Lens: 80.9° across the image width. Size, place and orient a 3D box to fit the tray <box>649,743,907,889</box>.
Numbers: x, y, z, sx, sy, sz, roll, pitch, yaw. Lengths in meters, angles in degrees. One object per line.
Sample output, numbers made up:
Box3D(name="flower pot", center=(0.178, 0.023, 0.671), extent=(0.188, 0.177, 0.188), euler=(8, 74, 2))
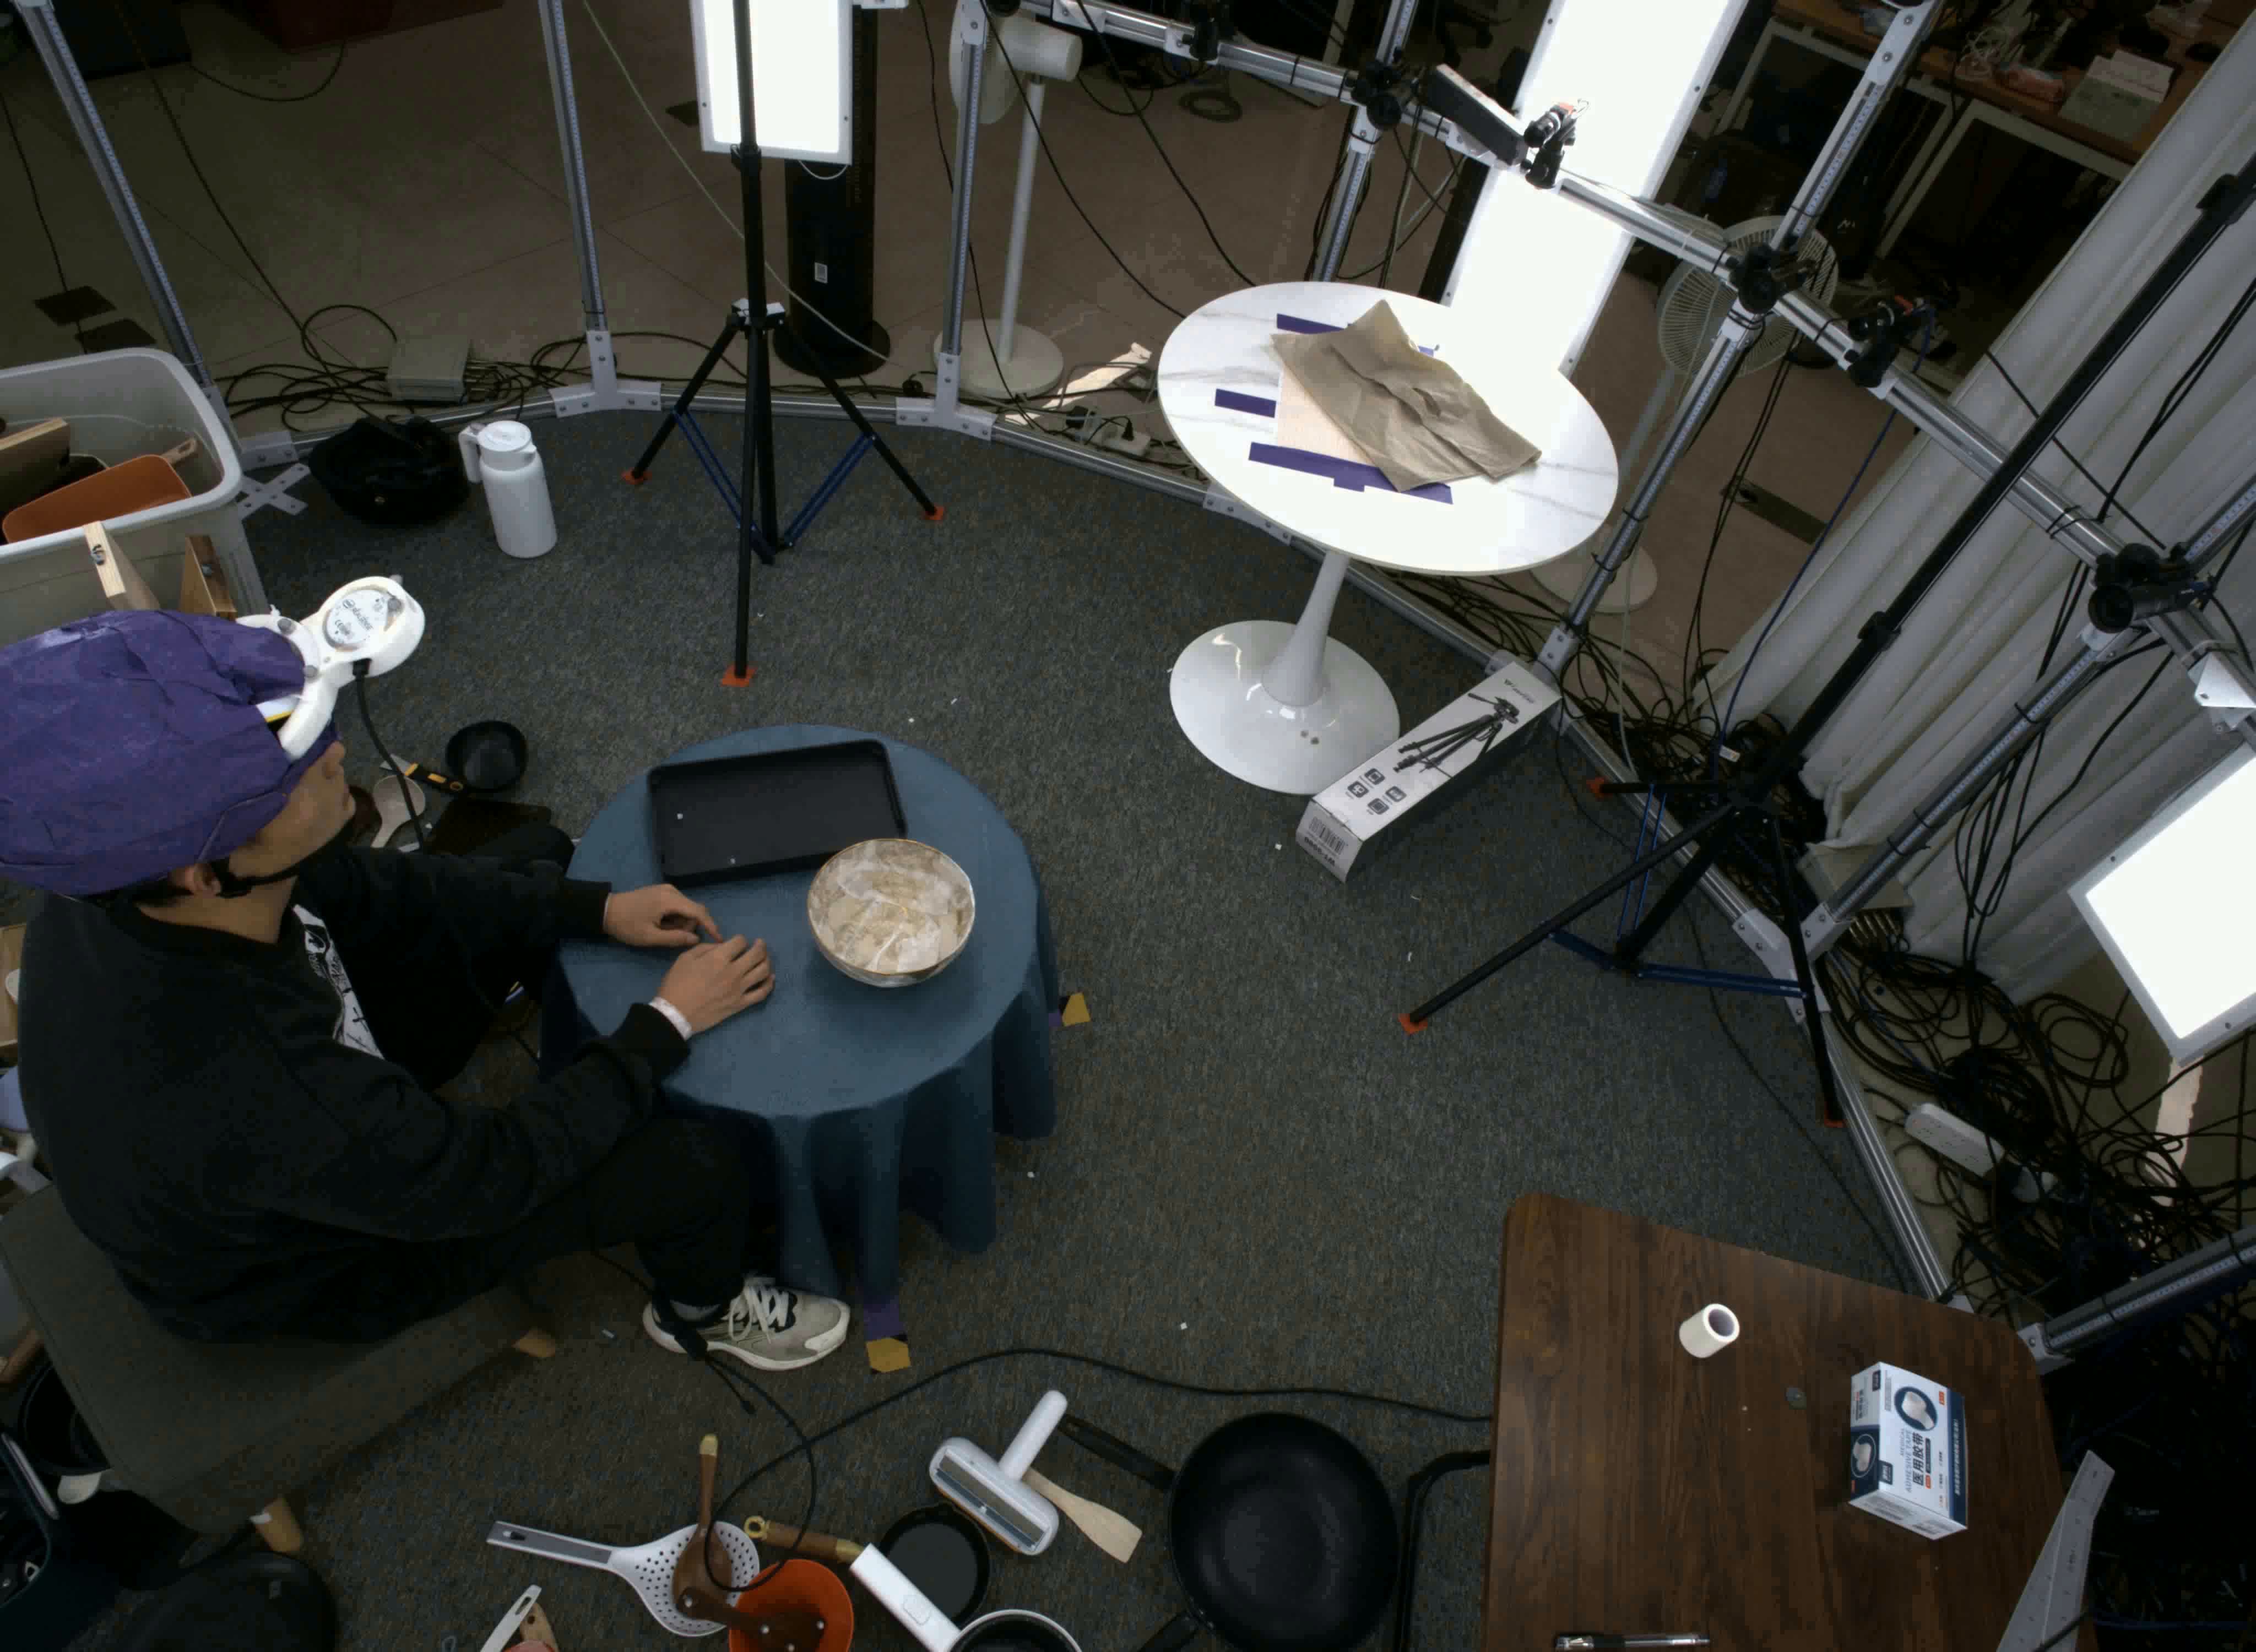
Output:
Box3D(name="tray", center=(-0.463, -0.019, 1.712), extent=(0.319, 0.038, 0.180), euler=(-7, 55, -21))

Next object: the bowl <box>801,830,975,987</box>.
Box3D(name="bowl", center=(-0.298, 0.116, 1.615), extent=(0.214, 0.096, 0.211), euler=(8, 53, -9))
